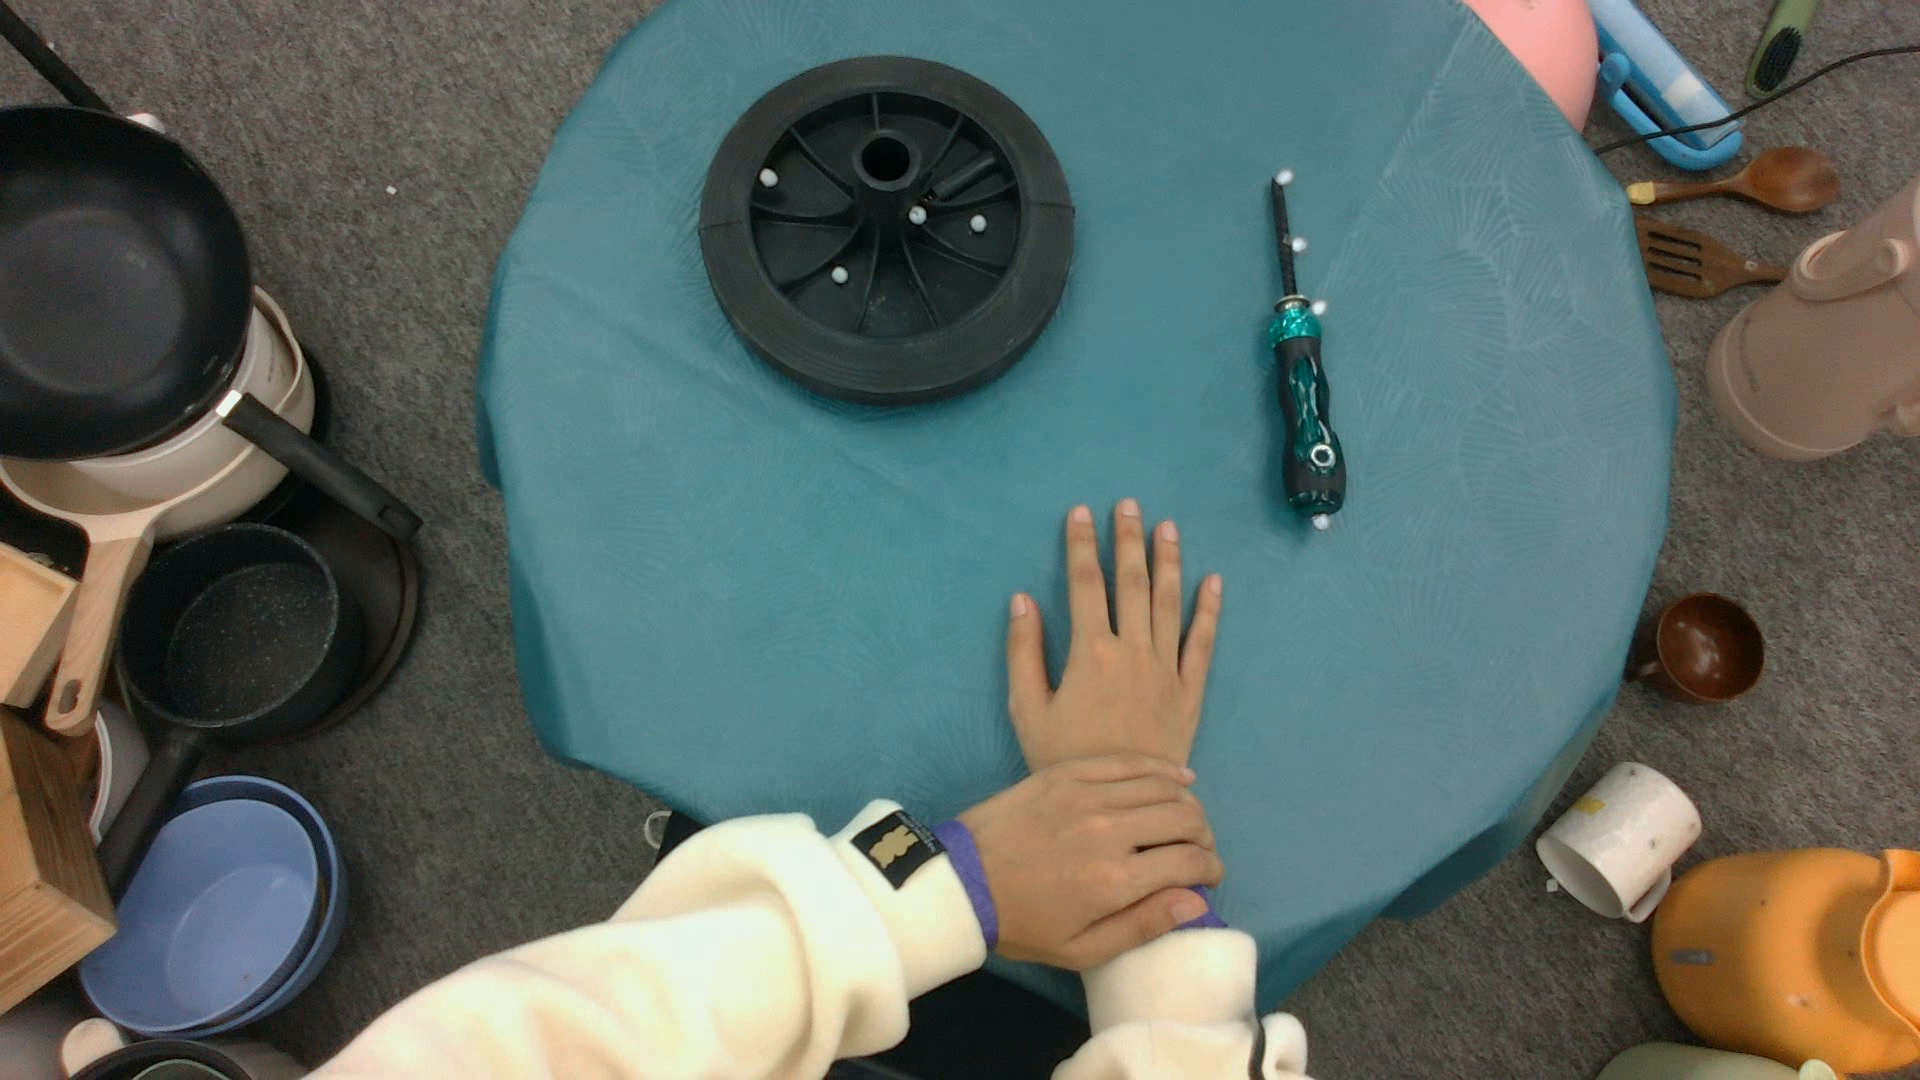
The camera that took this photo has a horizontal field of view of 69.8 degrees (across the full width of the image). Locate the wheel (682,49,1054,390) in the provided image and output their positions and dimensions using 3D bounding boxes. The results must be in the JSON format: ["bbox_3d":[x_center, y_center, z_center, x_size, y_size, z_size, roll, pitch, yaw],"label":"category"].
[{"bbox_3d":[-0.043,-0.172,0.677,0.187,0.079,0.190,30,72,5],"label":"wheel"}]

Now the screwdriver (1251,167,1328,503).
[{"bbox_3d":[0.162,-0.109,0.699,0.034,0.033,0.190,-1,68,-3],"label":"screwdriver"}]
